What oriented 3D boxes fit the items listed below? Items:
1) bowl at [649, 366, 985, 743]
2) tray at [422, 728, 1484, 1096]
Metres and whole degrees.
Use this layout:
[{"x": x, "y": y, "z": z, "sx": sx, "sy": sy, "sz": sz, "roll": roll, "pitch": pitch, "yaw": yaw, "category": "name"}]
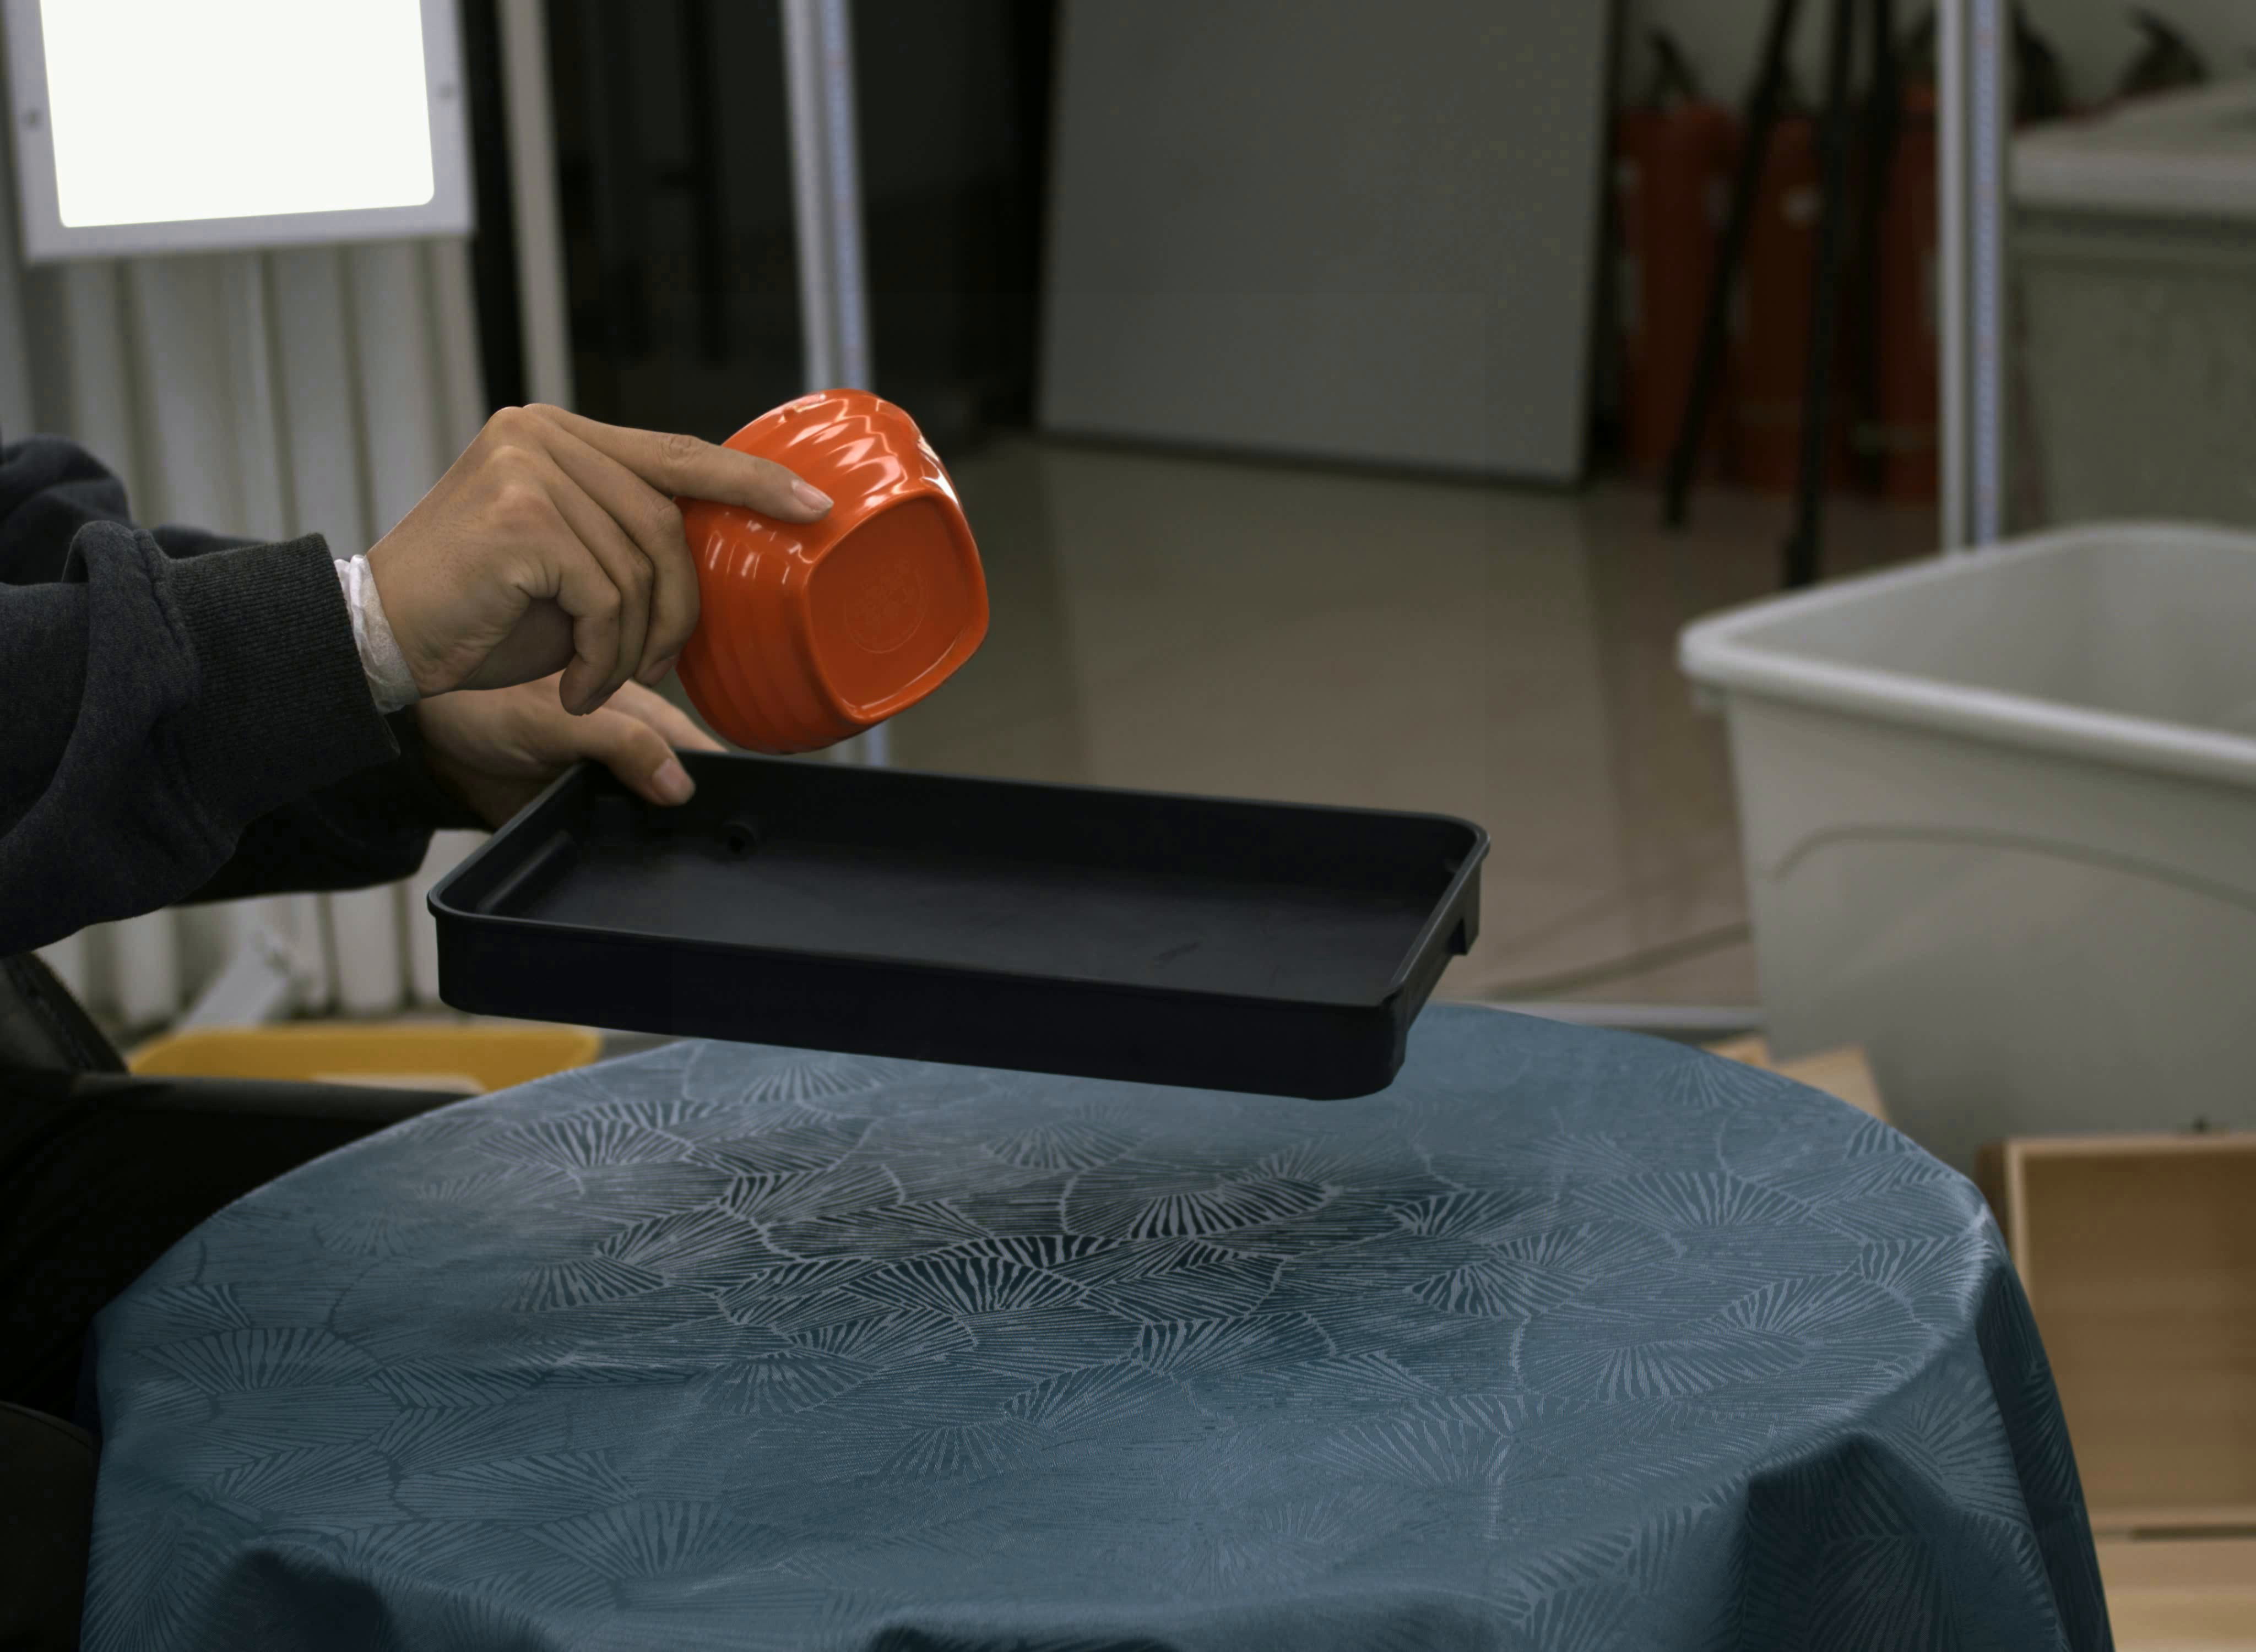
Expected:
[{"x": -0.087, "y": -0.077, "z": 1.660, "sx": 0.116, "sy": 0.120, "sz": 0.052, "roll": -13, "pitch": 25, "yaw": -36, "category": "bowl"}, {"x": -0.053, "y": 0.025, "z": 1.735, "sx": 0.316, "sy": 0.037, "sz": 0.183, "roll": 6, "pitch": 19, "yaw": 15, "category": "tray"}]
